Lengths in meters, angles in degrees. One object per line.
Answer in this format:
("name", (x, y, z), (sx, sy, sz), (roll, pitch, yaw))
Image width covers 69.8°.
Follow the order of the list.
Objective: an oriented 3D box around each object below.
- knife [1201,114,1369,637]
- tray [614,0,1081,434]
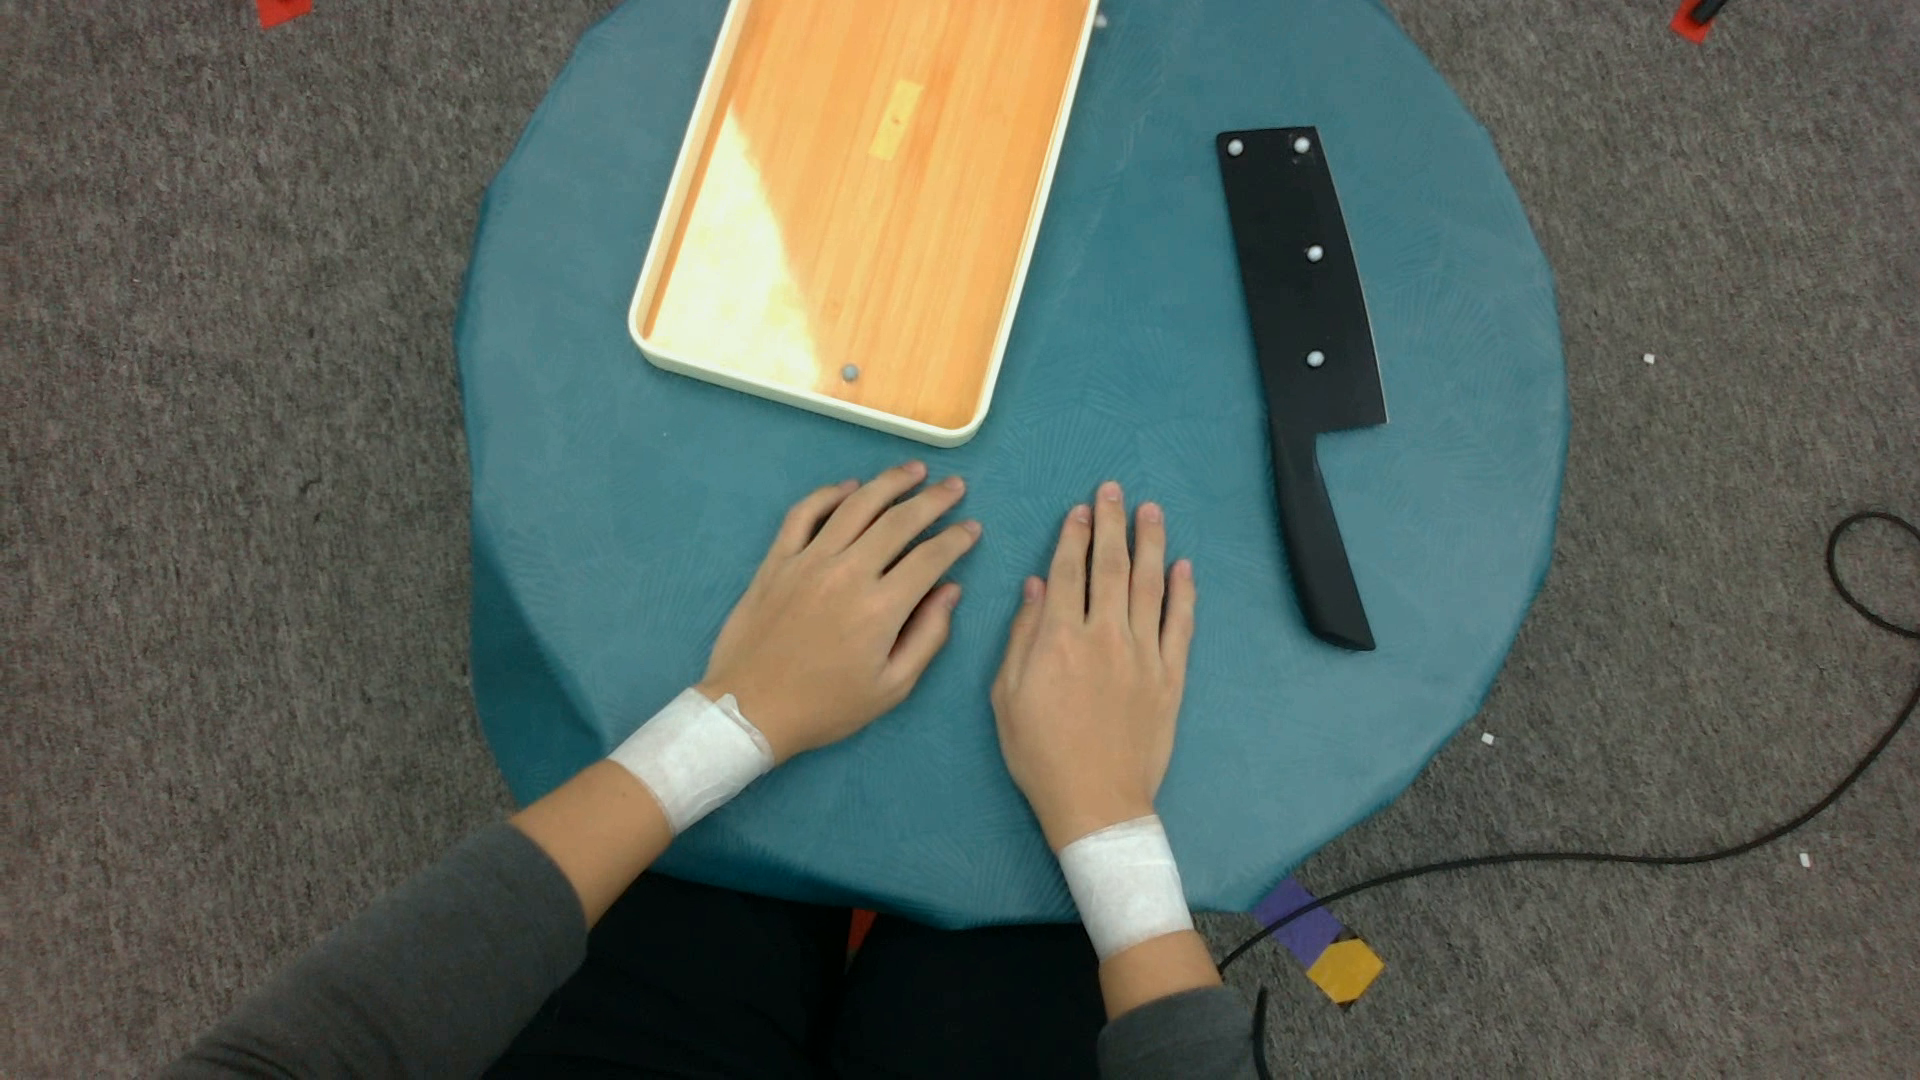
("knife", (0.185, -0.096, 0.751), (0.081, 0.021, 0.303), (-2, 77, -8))
("tray", (-0.053, -0.219, 0.745), (0.191, 0.027, 0.301), (16, 77, -2))
